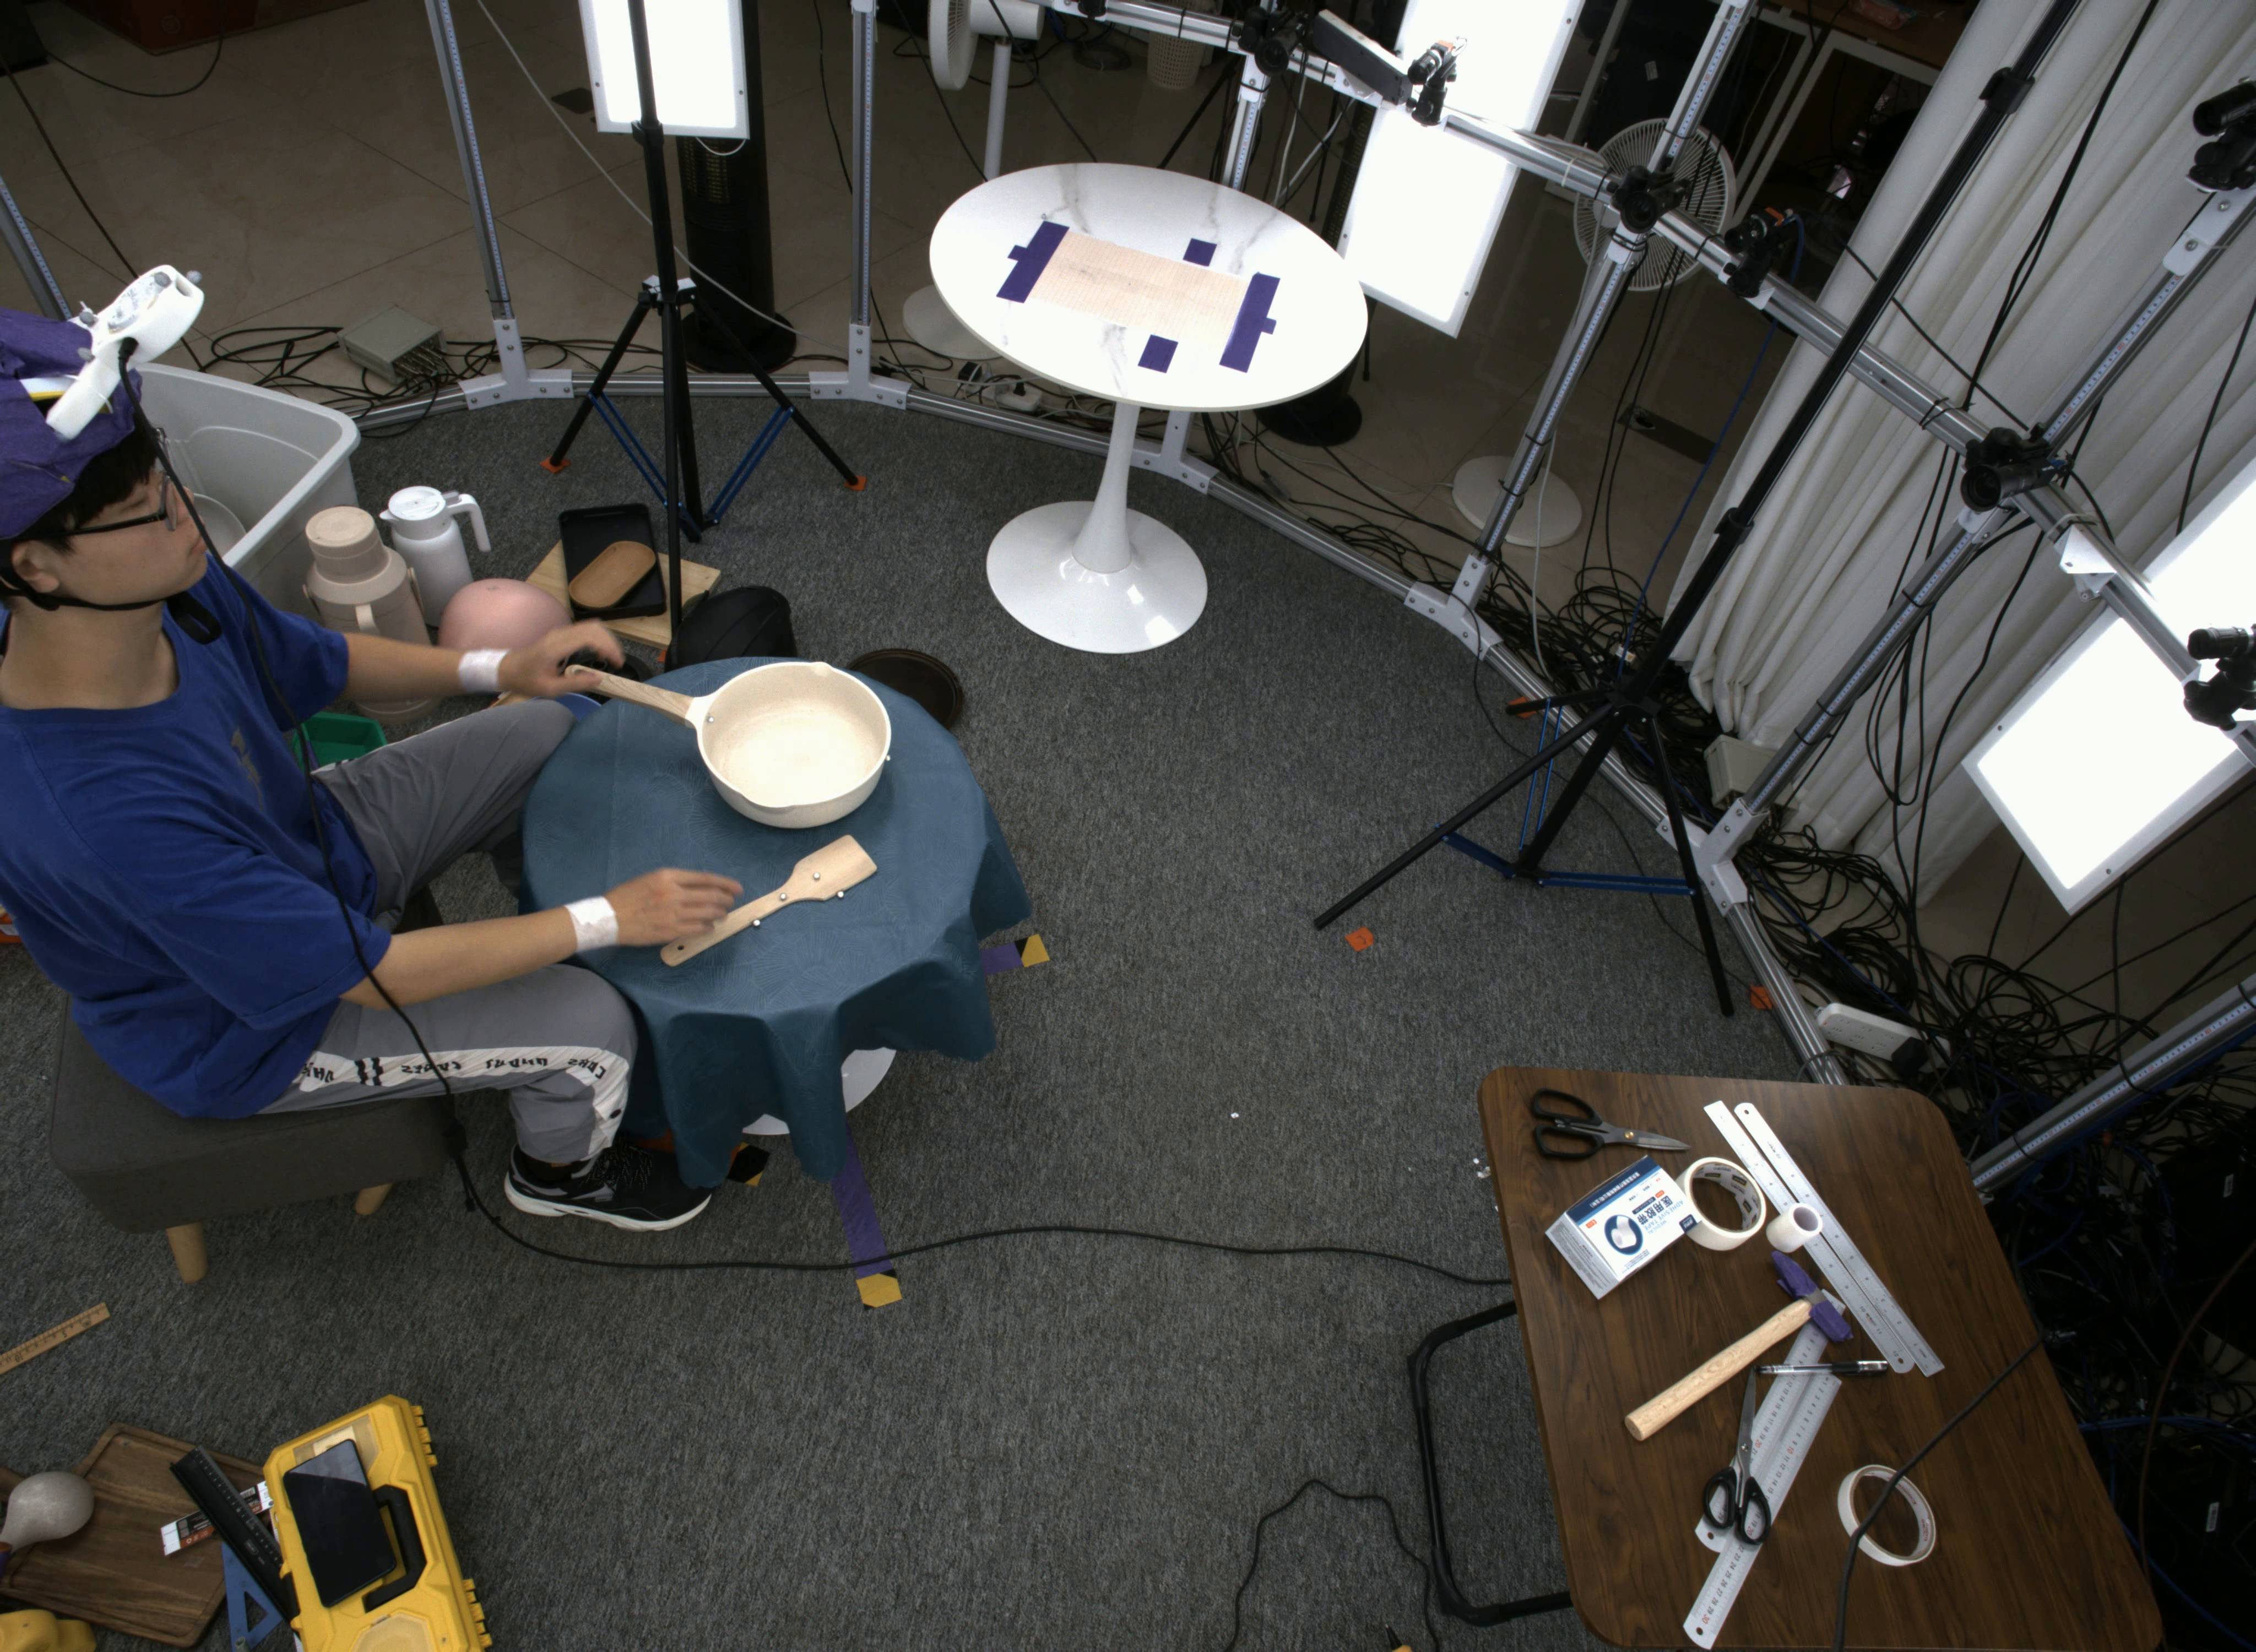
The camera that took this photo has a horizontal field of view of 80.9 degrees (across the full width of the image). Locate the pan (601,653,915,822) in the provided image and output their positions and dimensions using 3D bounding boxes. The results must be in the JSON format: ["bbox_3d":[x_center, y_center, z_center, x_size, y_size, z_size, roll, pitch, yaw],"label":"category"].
[{"bbox_3d":[-0.505,-0.136,1.751,0.432,0.104,0.259,12,54,-5],"label":"pan"}]

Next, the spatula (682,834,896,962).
[{"bbox_3d":[-0.434,0.096,1.655,0.294,0.011,0.070,-30,67,-31],"label":"spatula"}]
